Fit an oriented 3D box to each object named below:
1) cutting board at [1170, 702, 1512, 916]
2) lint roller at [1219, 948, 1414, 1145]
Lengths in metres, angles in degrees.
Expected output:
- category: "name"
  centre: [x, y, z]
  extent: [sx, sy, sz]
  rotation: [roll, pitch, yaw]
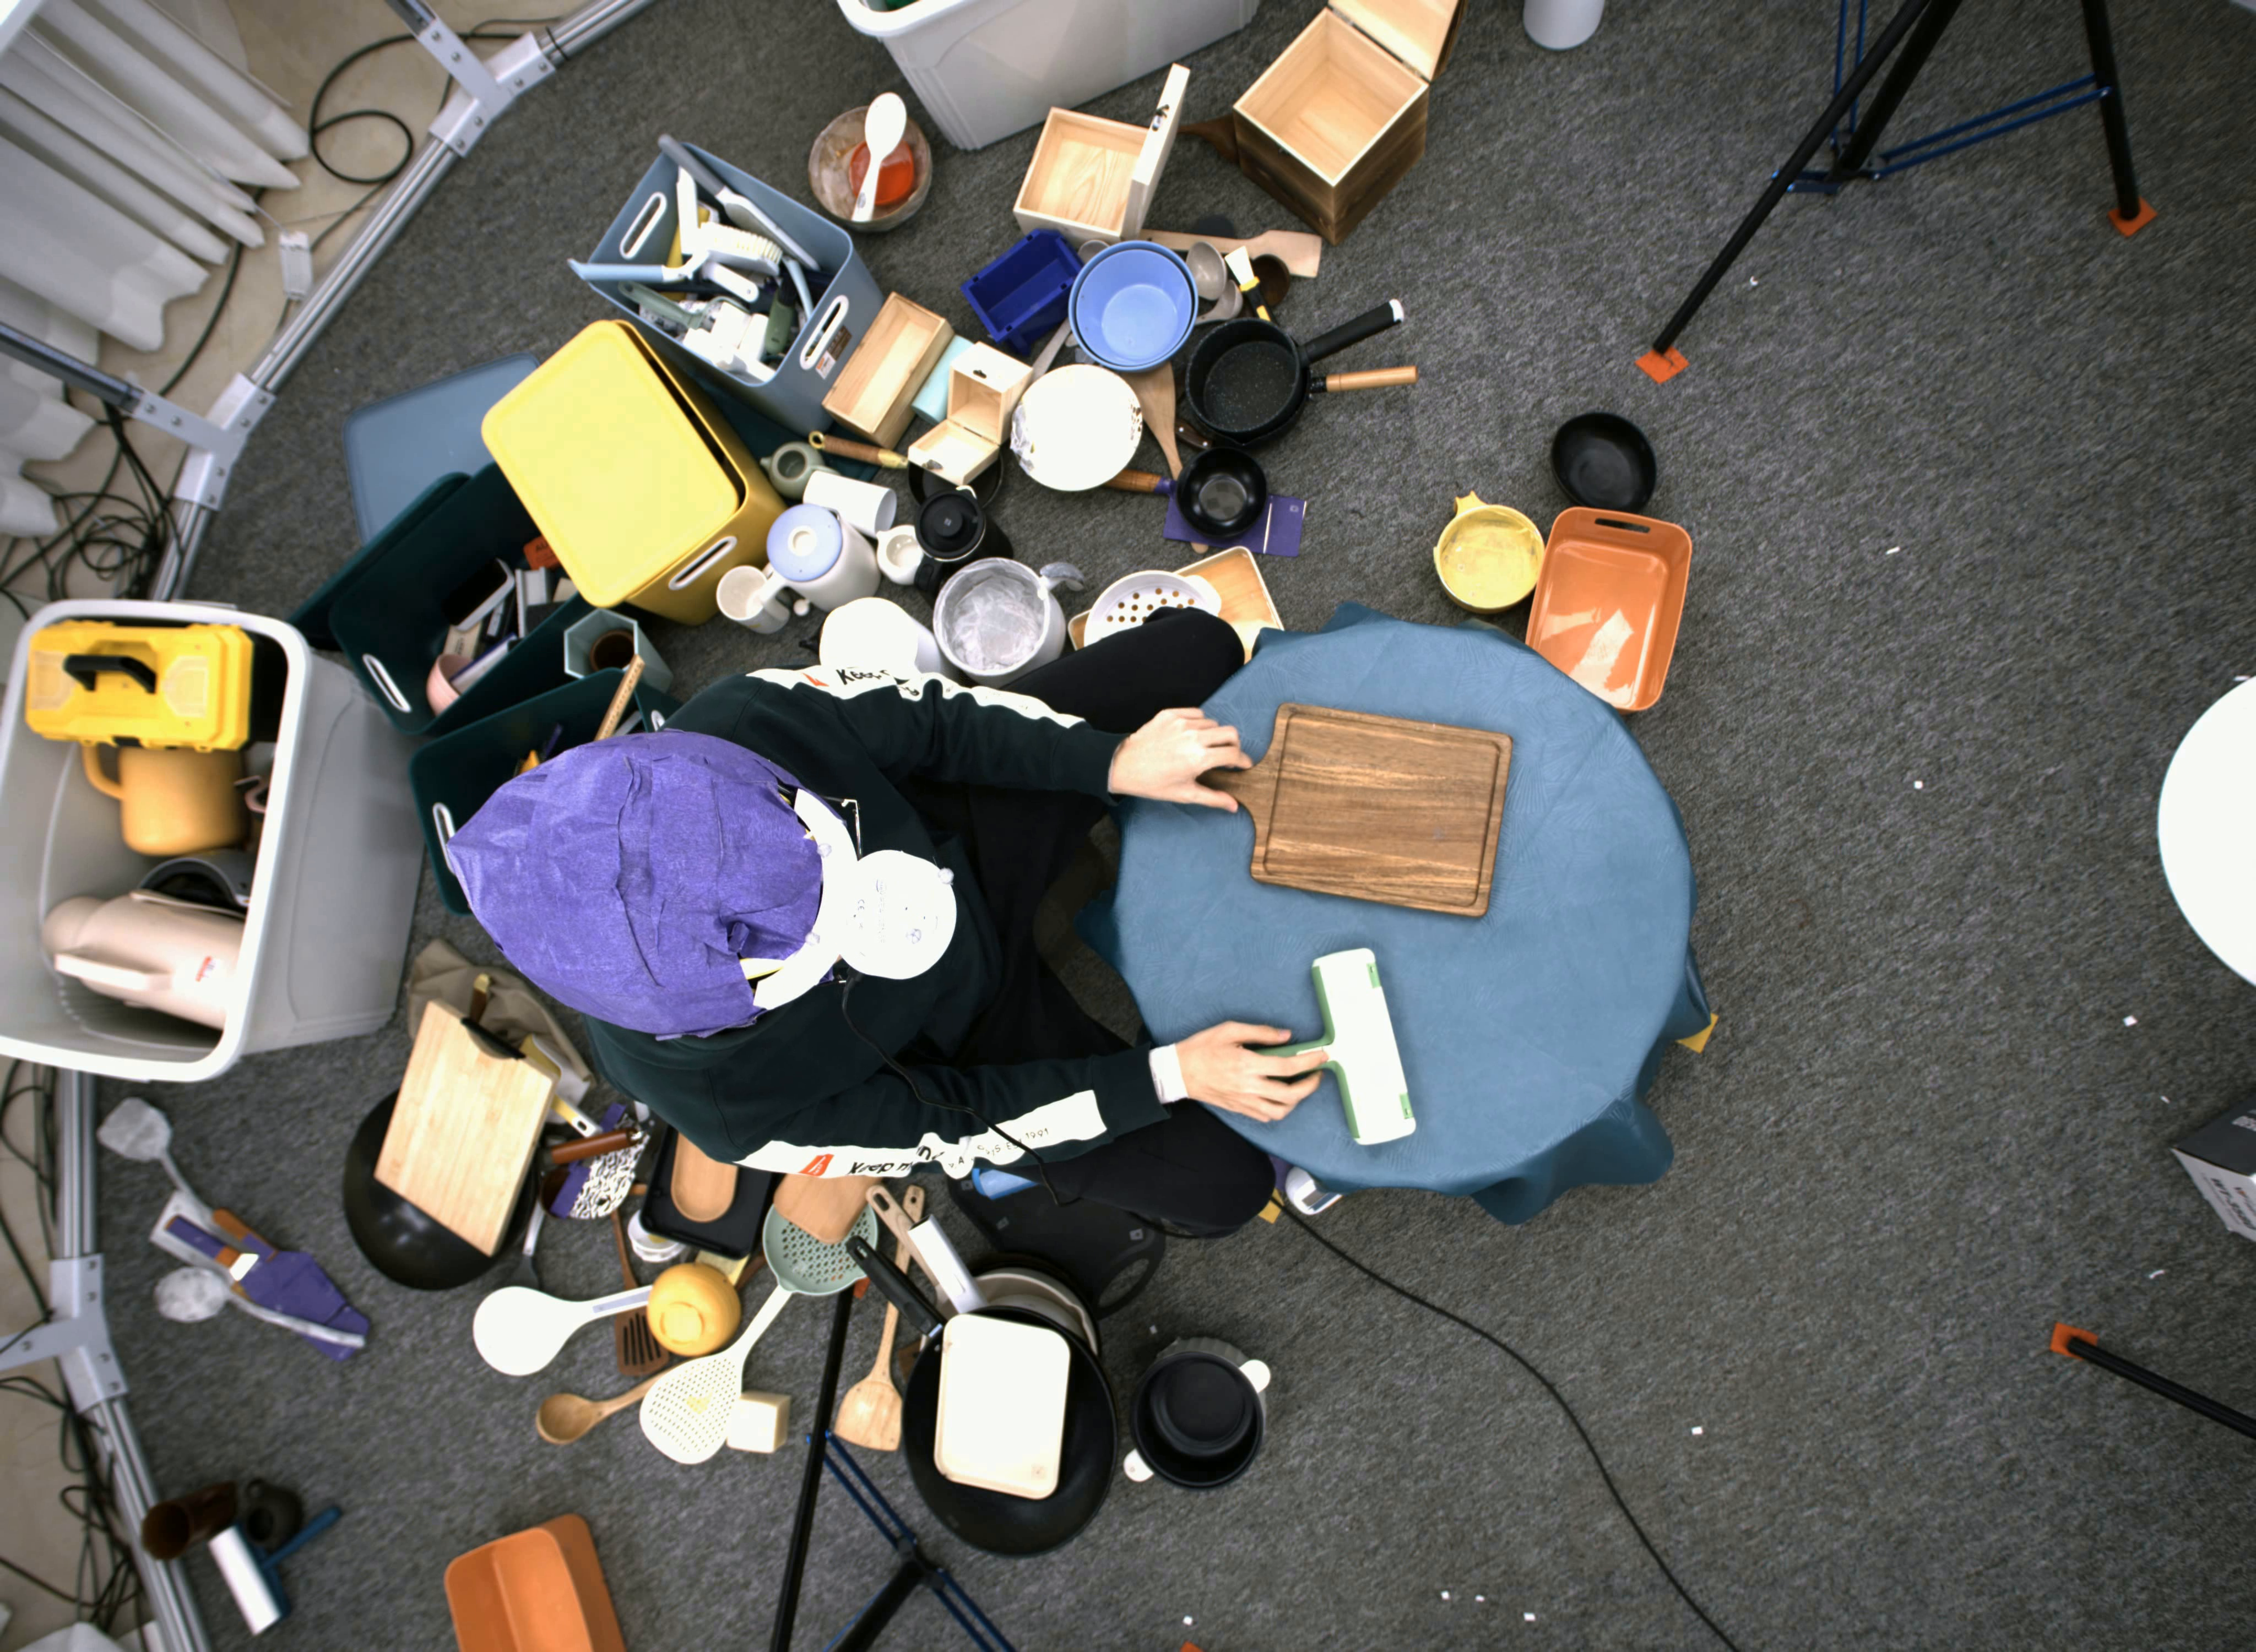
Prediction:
- category: "cutting board"
  centre: [0.218, -0.028, 1.459]
  extent: [0.353, 0.023, 0.200]
  rotation: [8, 88, 11]
- category: "lint roller"
  centre: [0.183, 0.237, 1.424]
  extent: [0.184, 0.082, 0.197]
  rotation: [-13, 85, 5]
